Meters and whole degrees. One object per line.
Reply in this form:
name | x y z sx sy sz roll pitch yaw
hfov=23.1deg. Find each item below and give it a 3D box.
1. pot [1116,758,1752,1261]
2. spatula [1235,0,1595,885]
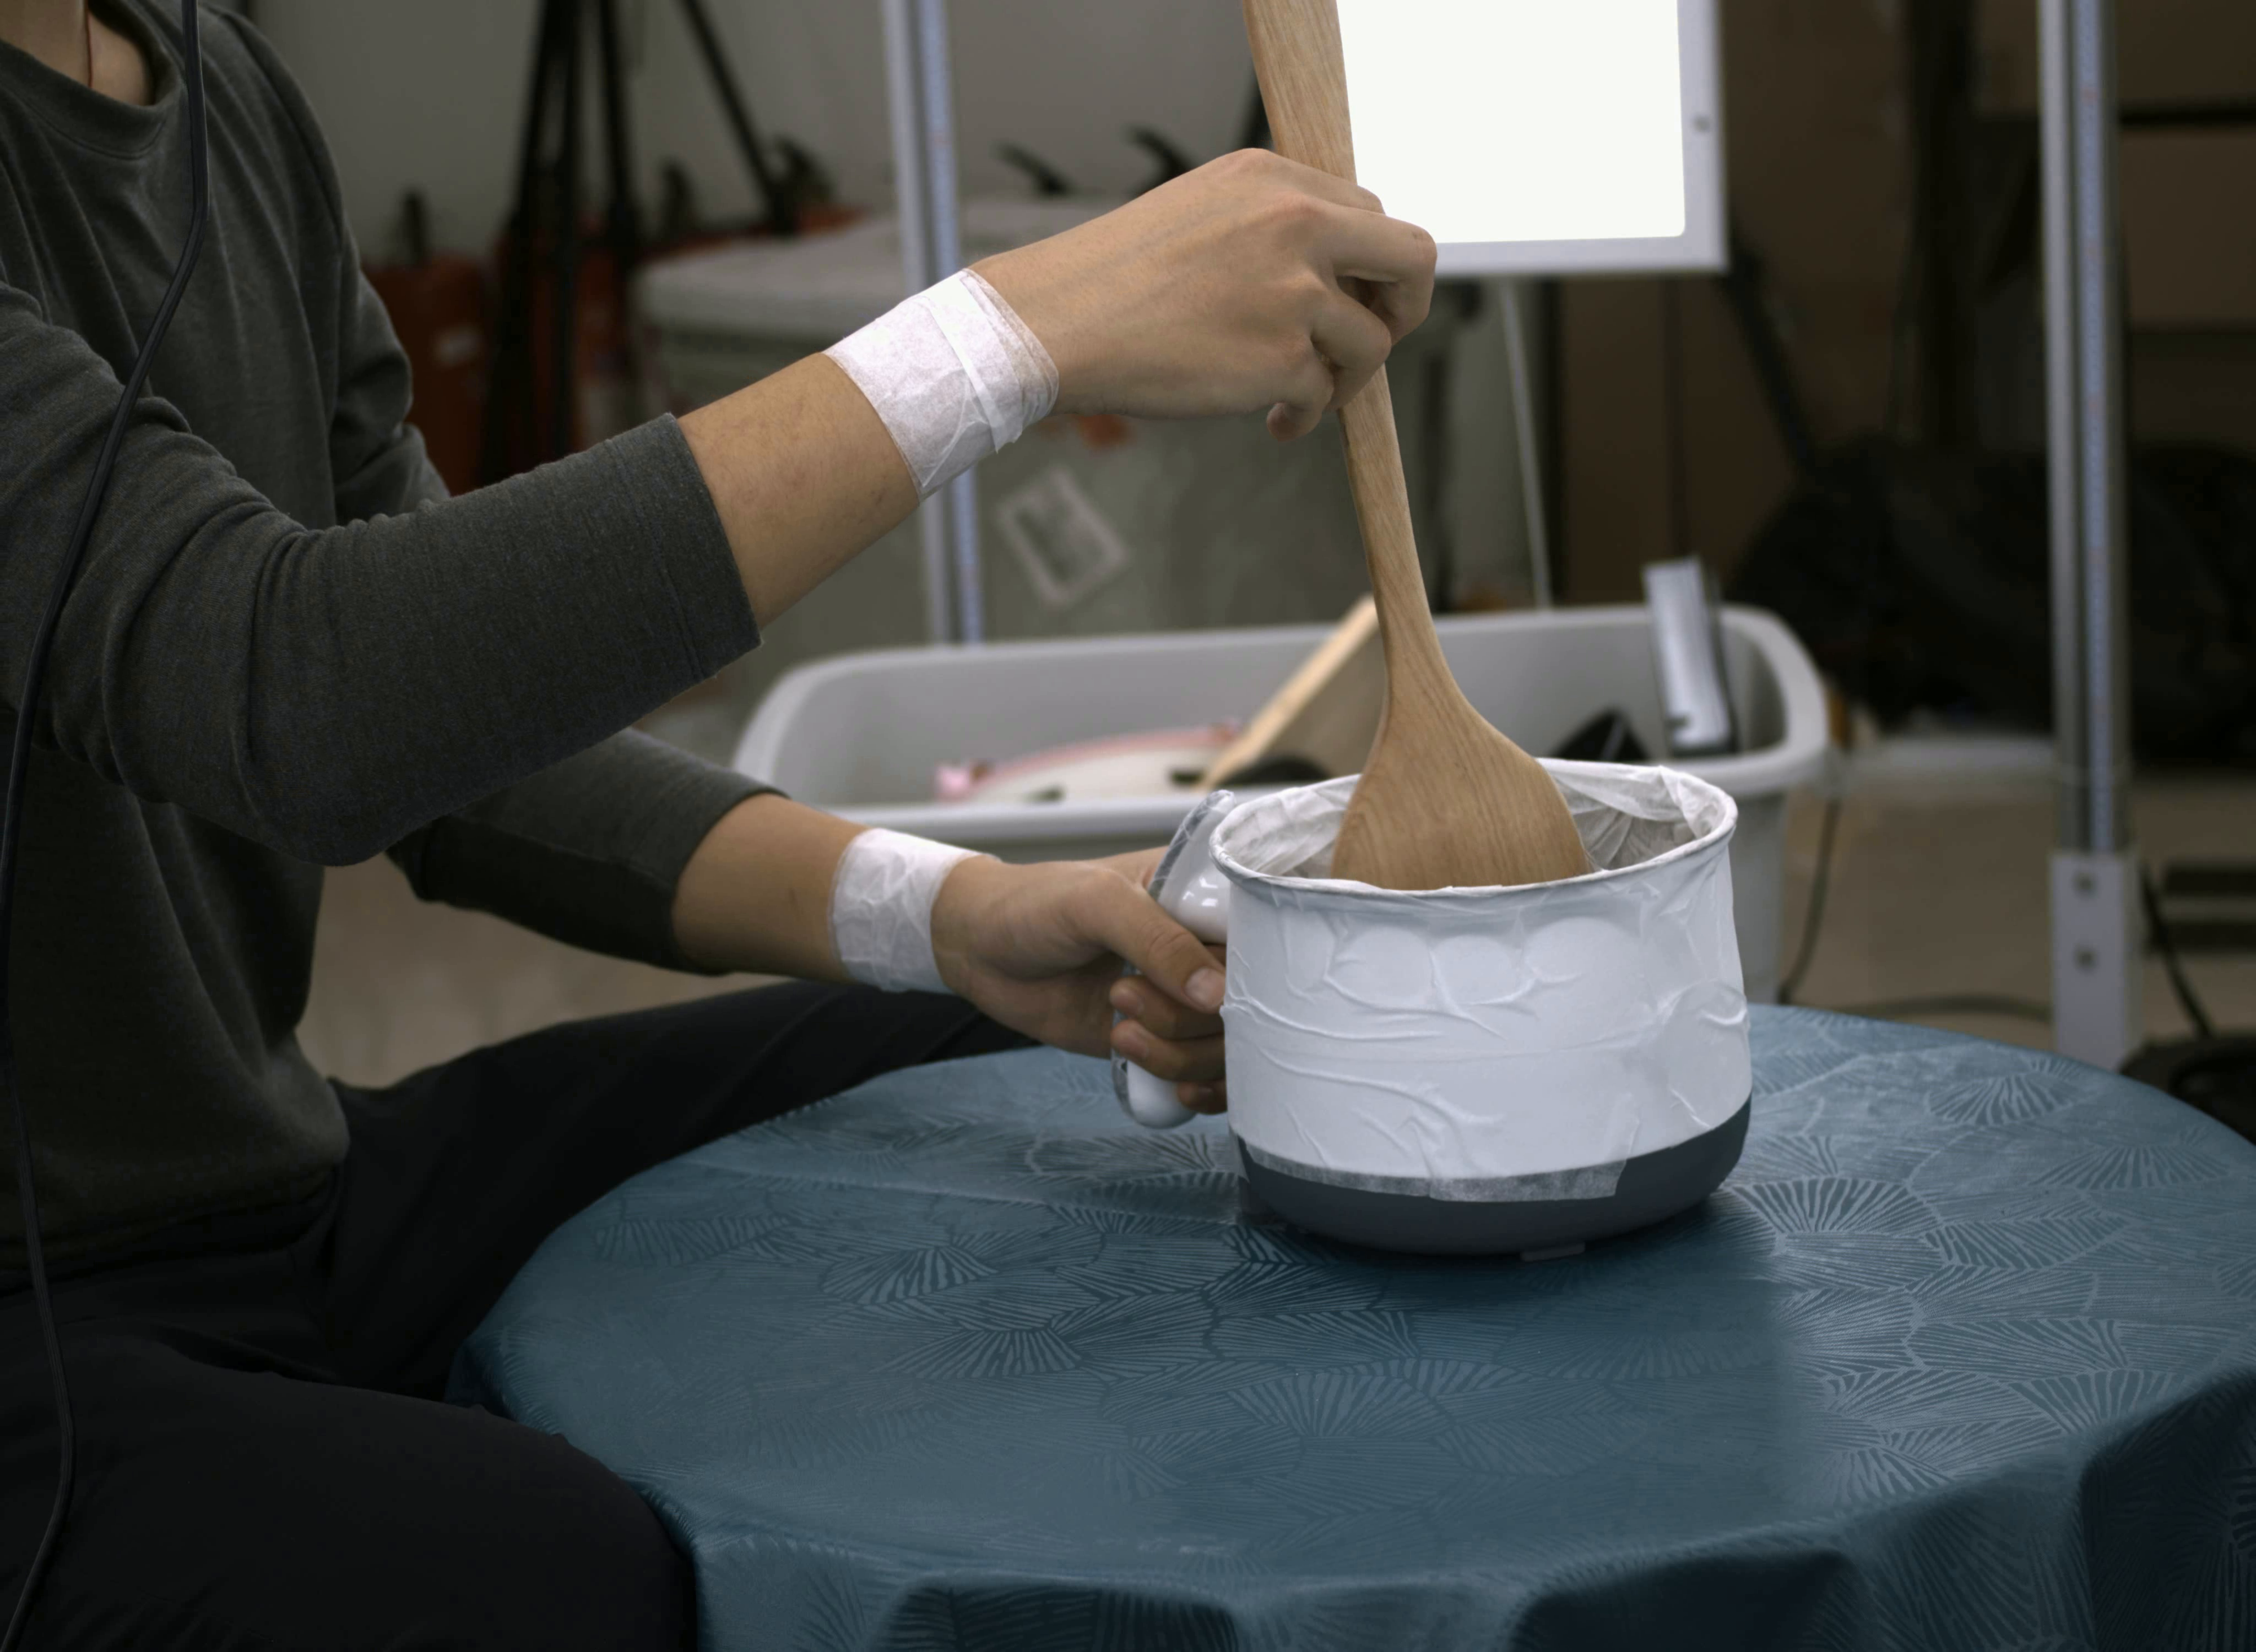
pot | 0.096 0.058 1.858 0.238 0.137 0.174 4 16 33
spatula | 0.084 -0.122 1.785 0.094 0.391 0.019 -20 21 -20
